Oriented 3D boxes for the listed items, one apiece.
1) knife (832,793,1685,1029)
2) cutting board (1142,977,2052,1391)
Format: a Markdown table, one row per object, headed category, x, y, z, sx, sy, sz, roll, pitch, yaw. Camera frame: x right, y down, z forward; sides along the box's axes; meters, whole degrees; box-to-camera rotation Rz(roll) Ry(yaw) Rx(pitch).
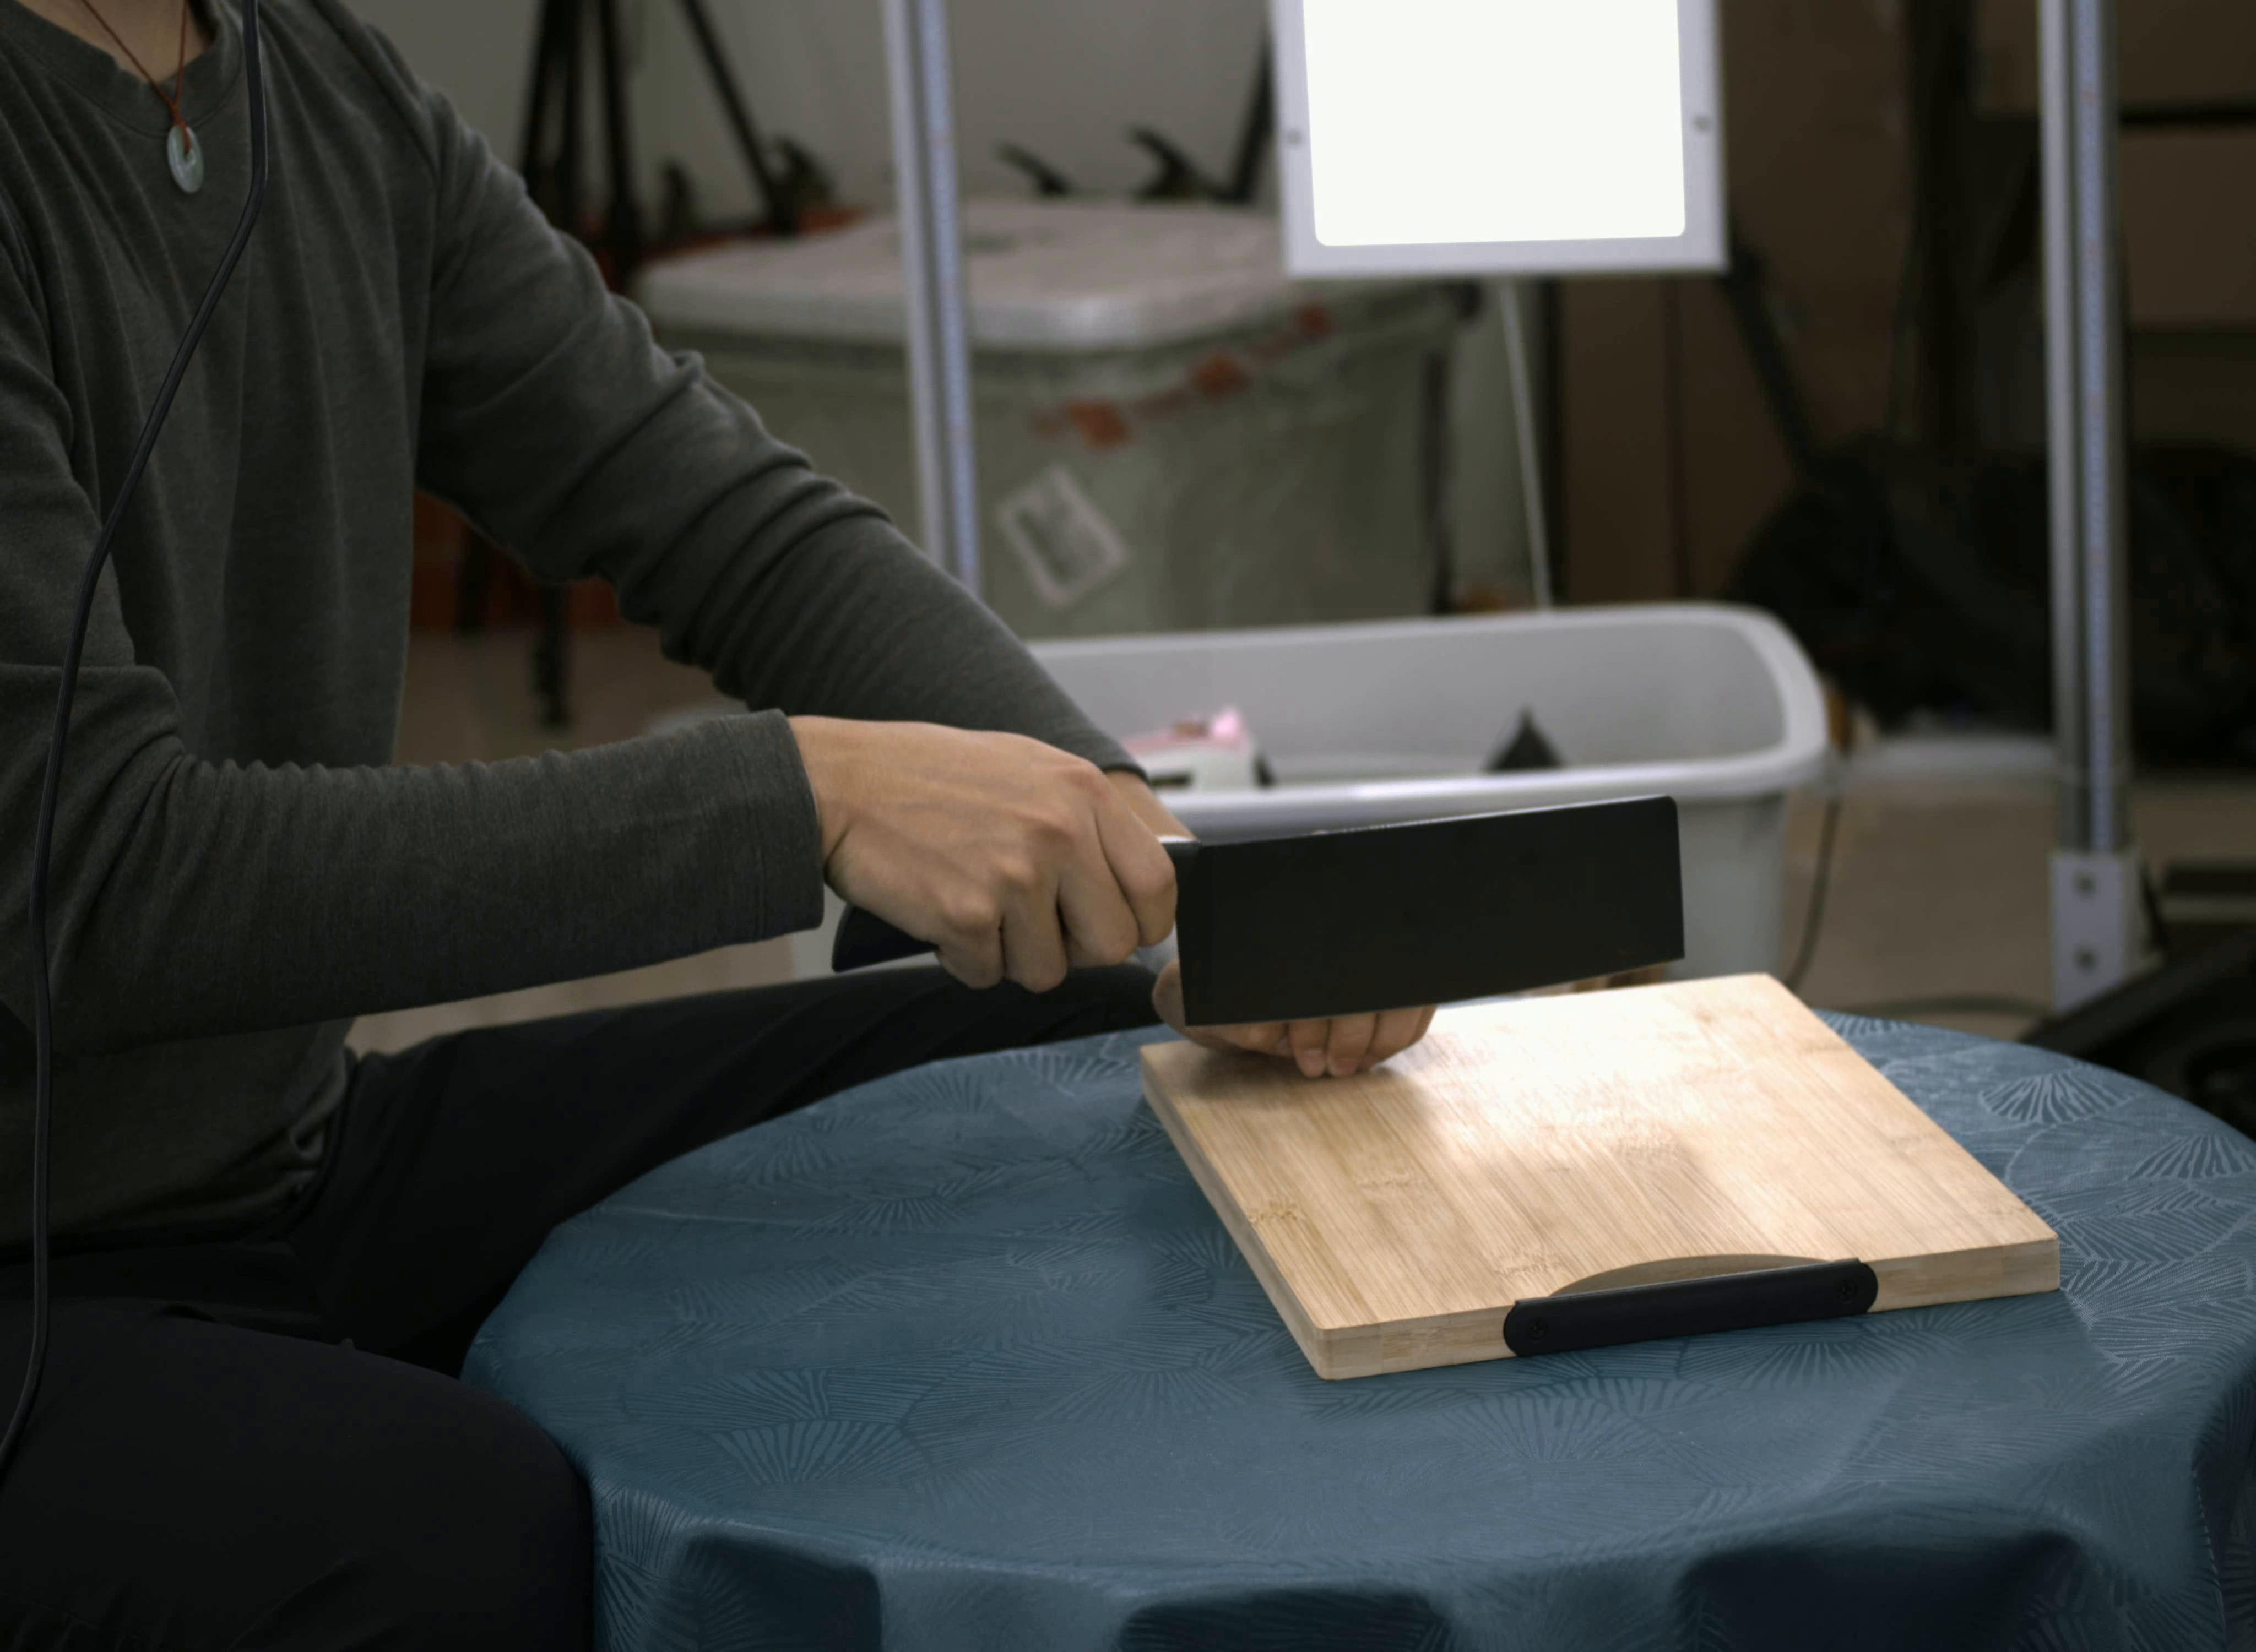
| category | x | y | z | sx | sy | sz | roll | pitch | yaw |
| --- | --- | --- | --- | --- | --- | --- | --- | --- | --- |
| knife | 0.047 | 0.032 | 1.919 | 0.300 | 0.081 | 0.021 | -2 | 12 | -4 |
| cutting board | 0.150 | 0.115 | 1.863 | 0.248 | 0.023 | 0.350 | -8 | 14 | -7 |
